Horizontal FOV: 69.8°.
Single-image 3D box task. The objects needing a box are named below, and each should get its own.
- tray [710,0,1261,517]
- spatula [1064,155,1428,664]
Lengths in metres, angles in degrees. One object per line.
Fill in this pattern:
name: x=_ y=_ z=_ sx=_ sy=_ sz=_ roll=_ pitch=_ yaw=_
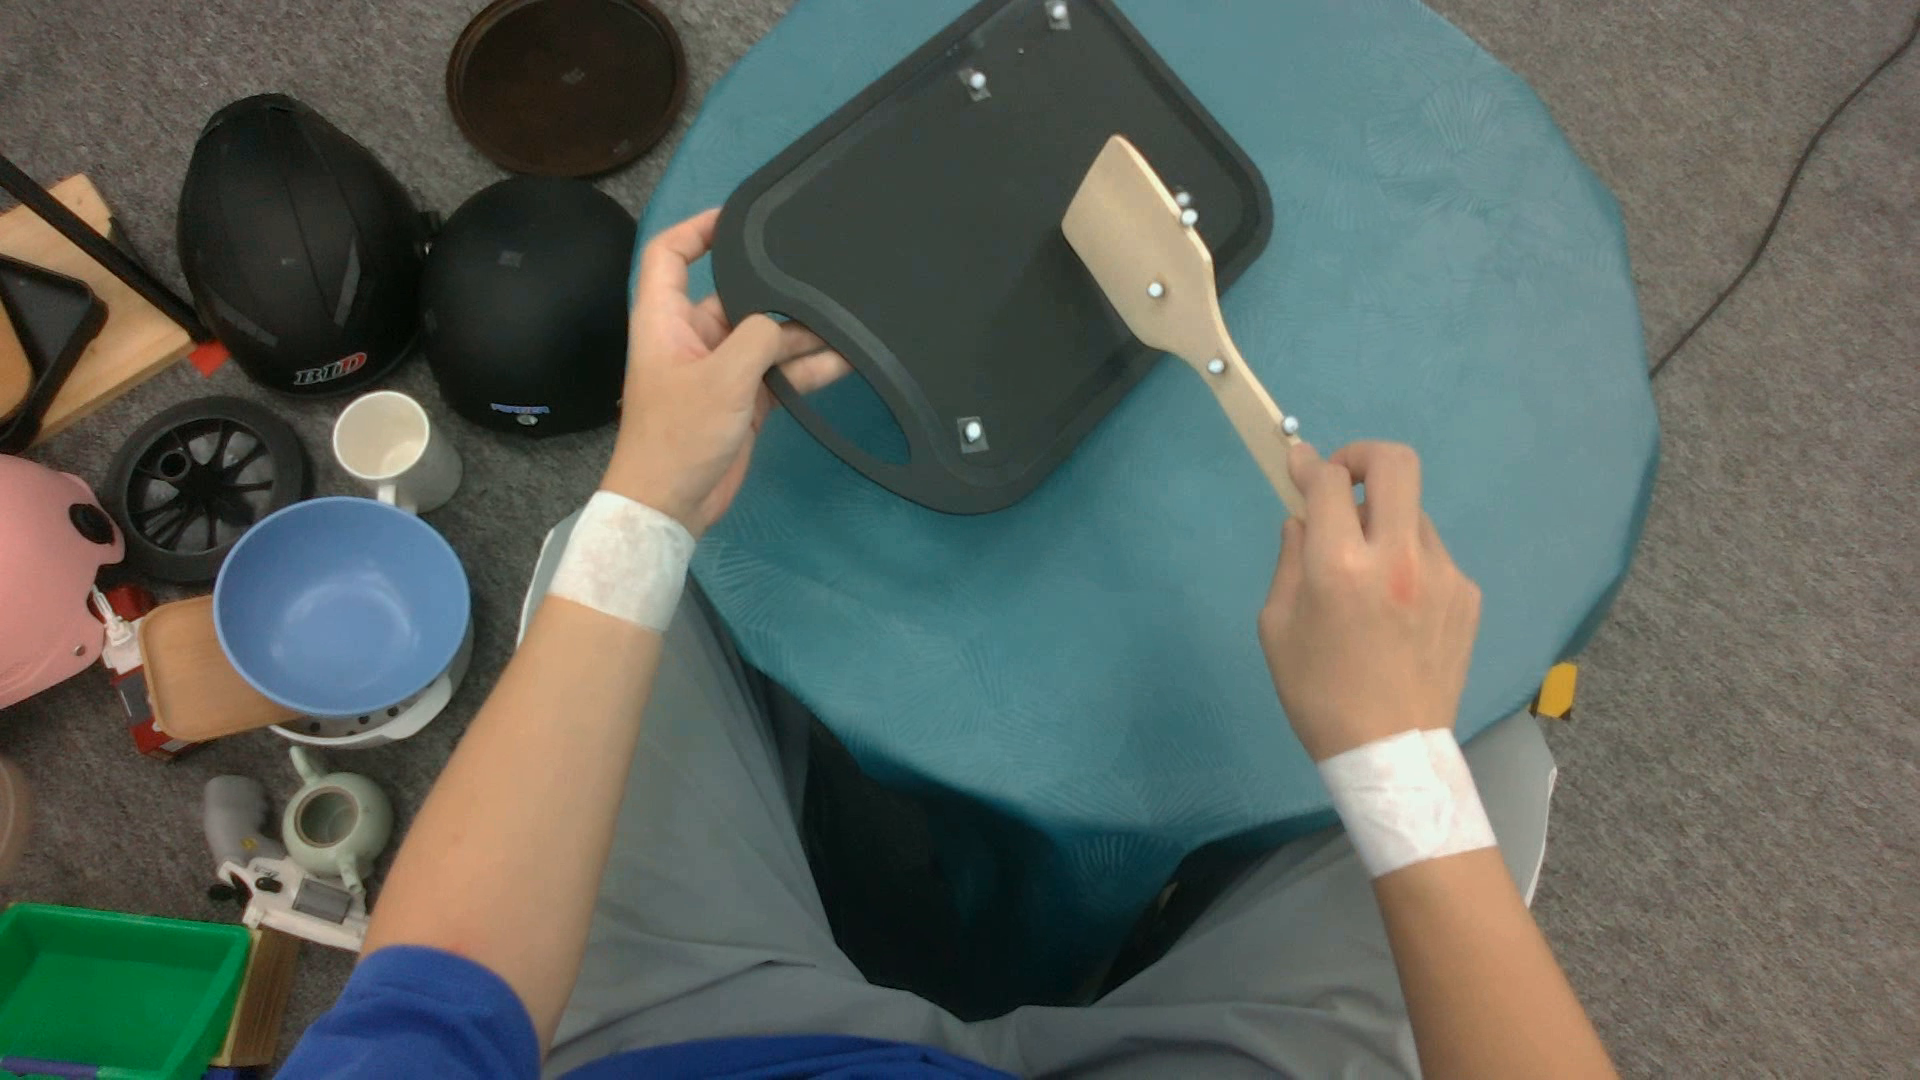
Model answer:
tray: x=0.023 y=-0.162 z=0.738 sx=0.211 sy=0.010 sz=0.327 roll=46 pitch=63 yaw=-4
spatula: x=0.140 y=-0.065 z=0.681 sx=0.011 sy=0.072 sz=0.293 roll=-19 pitch=68 yaw=-31
